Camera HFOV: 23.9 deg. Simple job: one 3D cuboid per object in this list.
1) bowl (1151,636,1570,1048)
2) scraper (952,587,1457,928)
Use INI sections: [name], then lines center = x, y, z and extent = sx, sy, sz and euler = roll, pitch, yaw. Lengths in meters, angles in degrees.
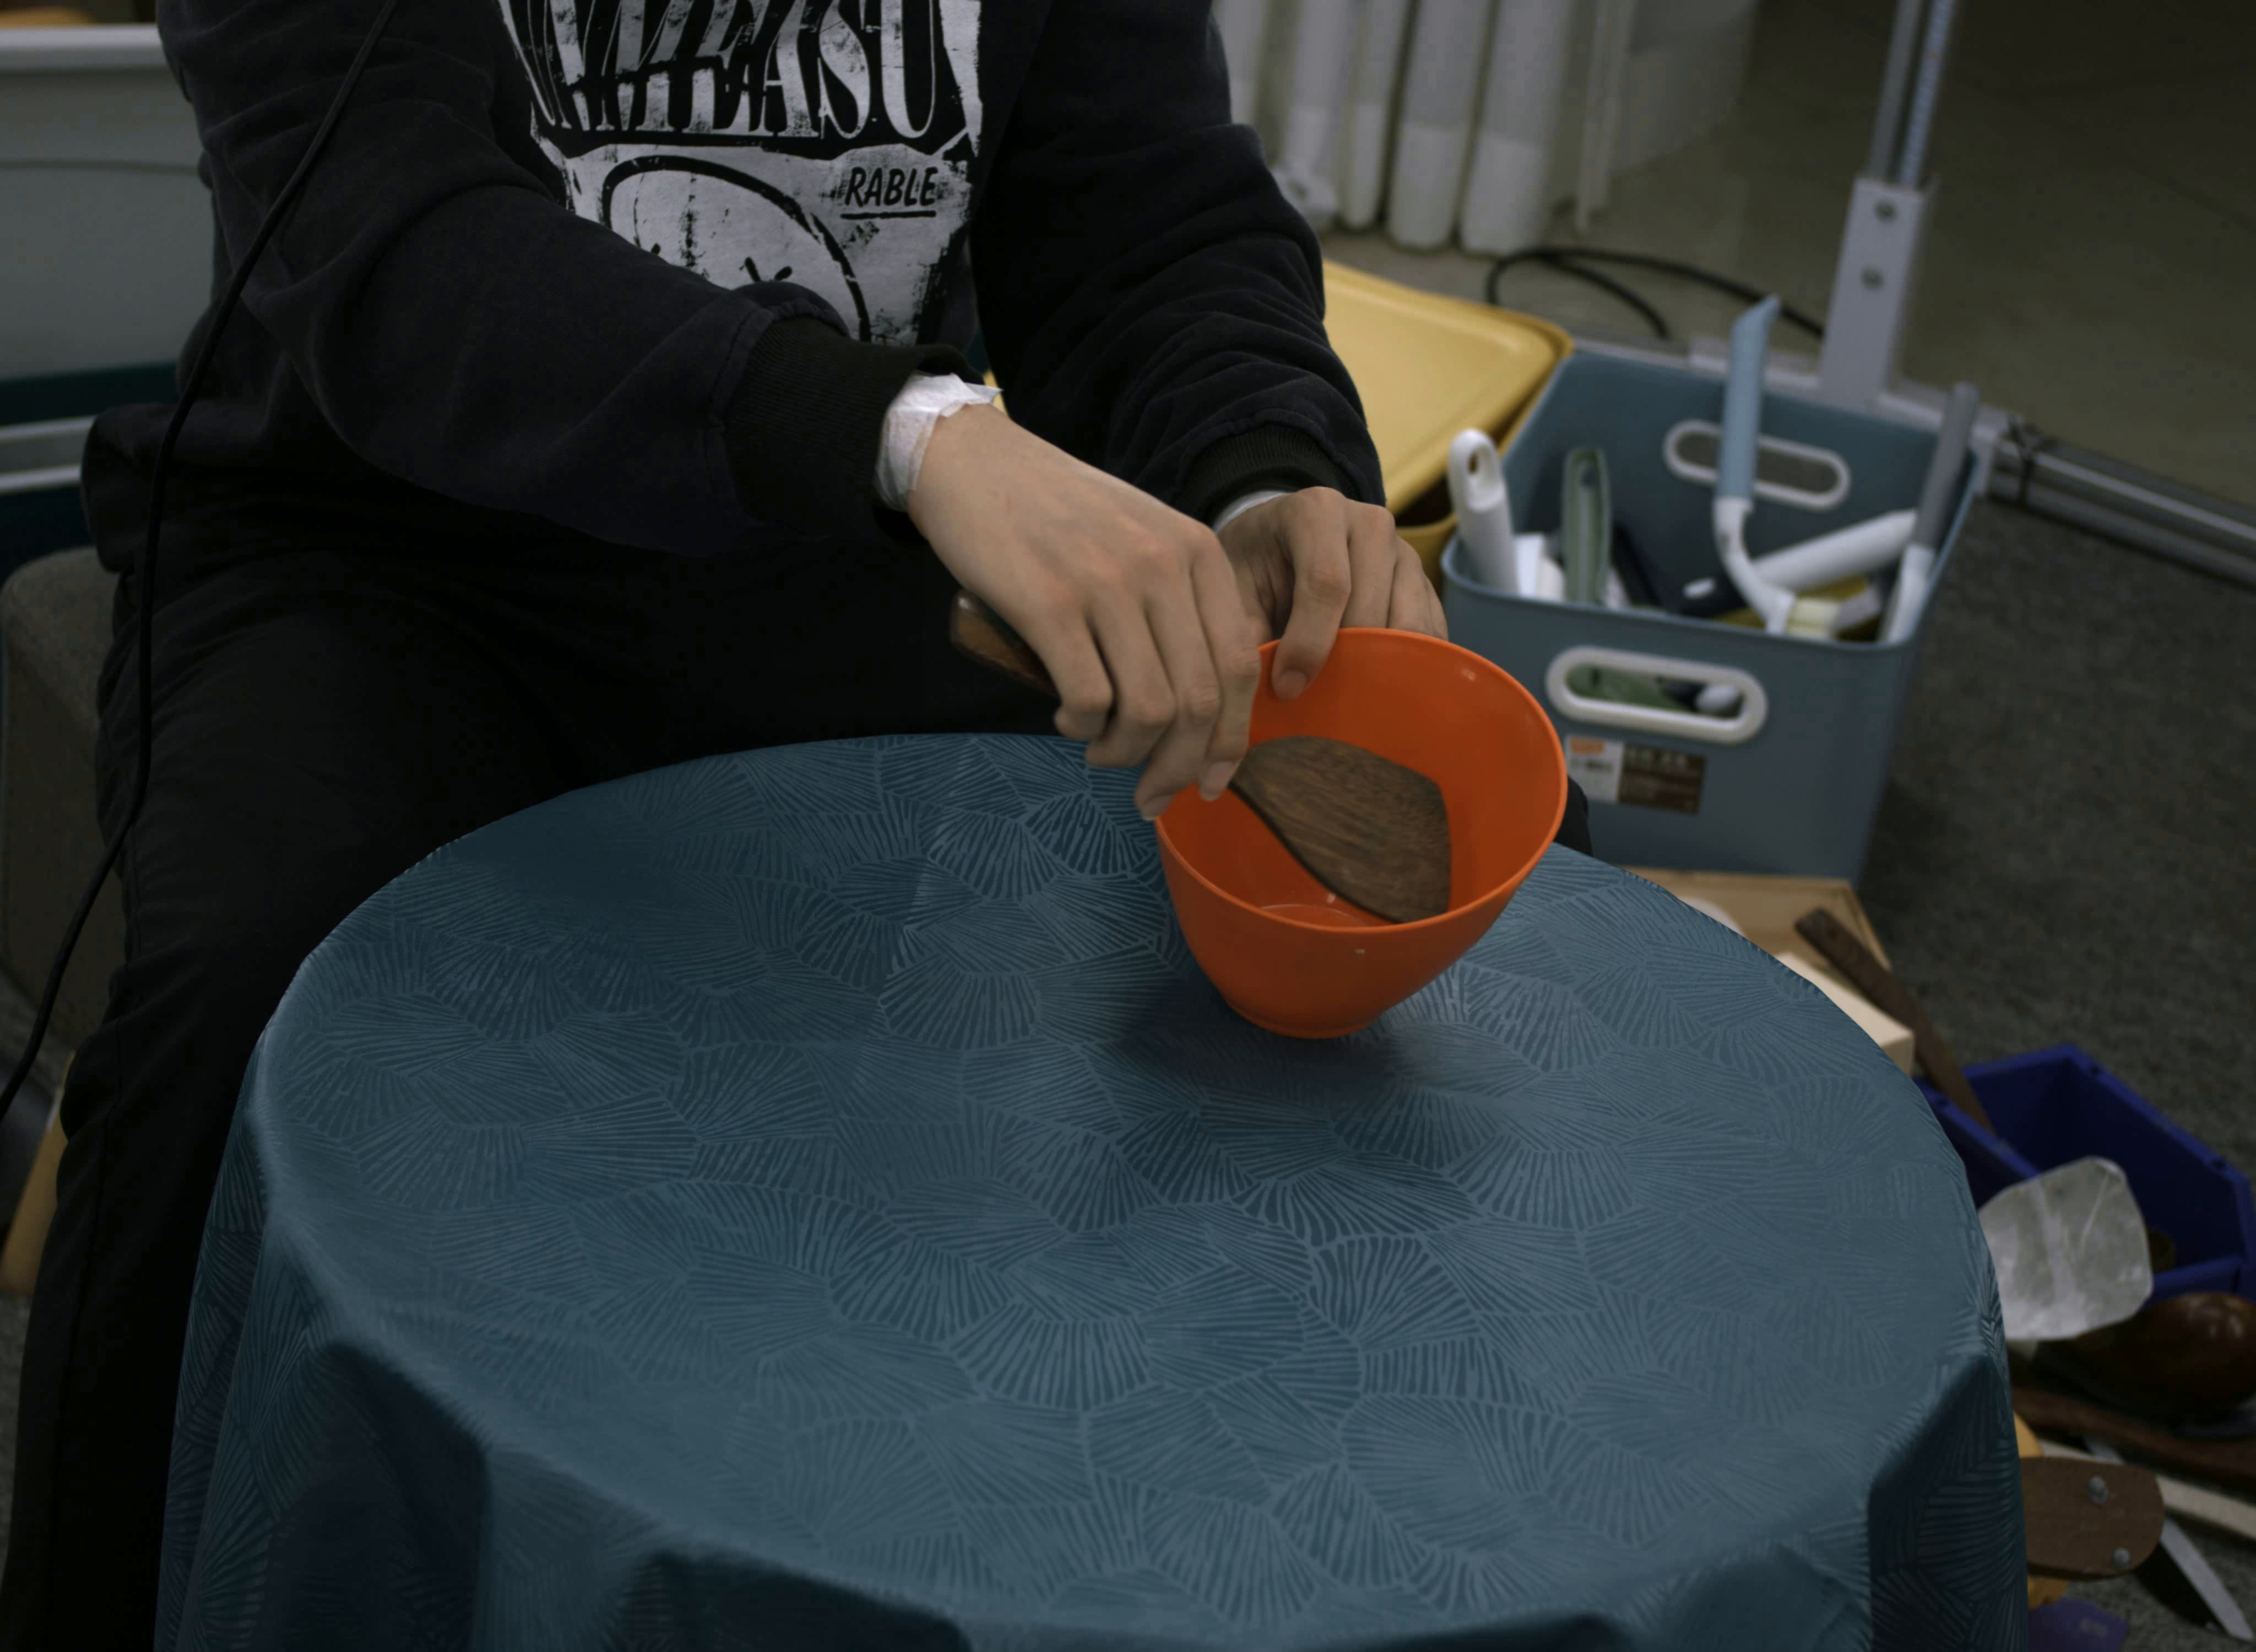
[bowl]
center = 0.078, 0.015, 1.905
extent = 0.147, 0.104, 0.149
euler = 4, 40, -4
[scraper]
center = 0.027, -0.029, 1.829
extent = 0.209, 0.011, 0.076
euler = 27, 41, -23
